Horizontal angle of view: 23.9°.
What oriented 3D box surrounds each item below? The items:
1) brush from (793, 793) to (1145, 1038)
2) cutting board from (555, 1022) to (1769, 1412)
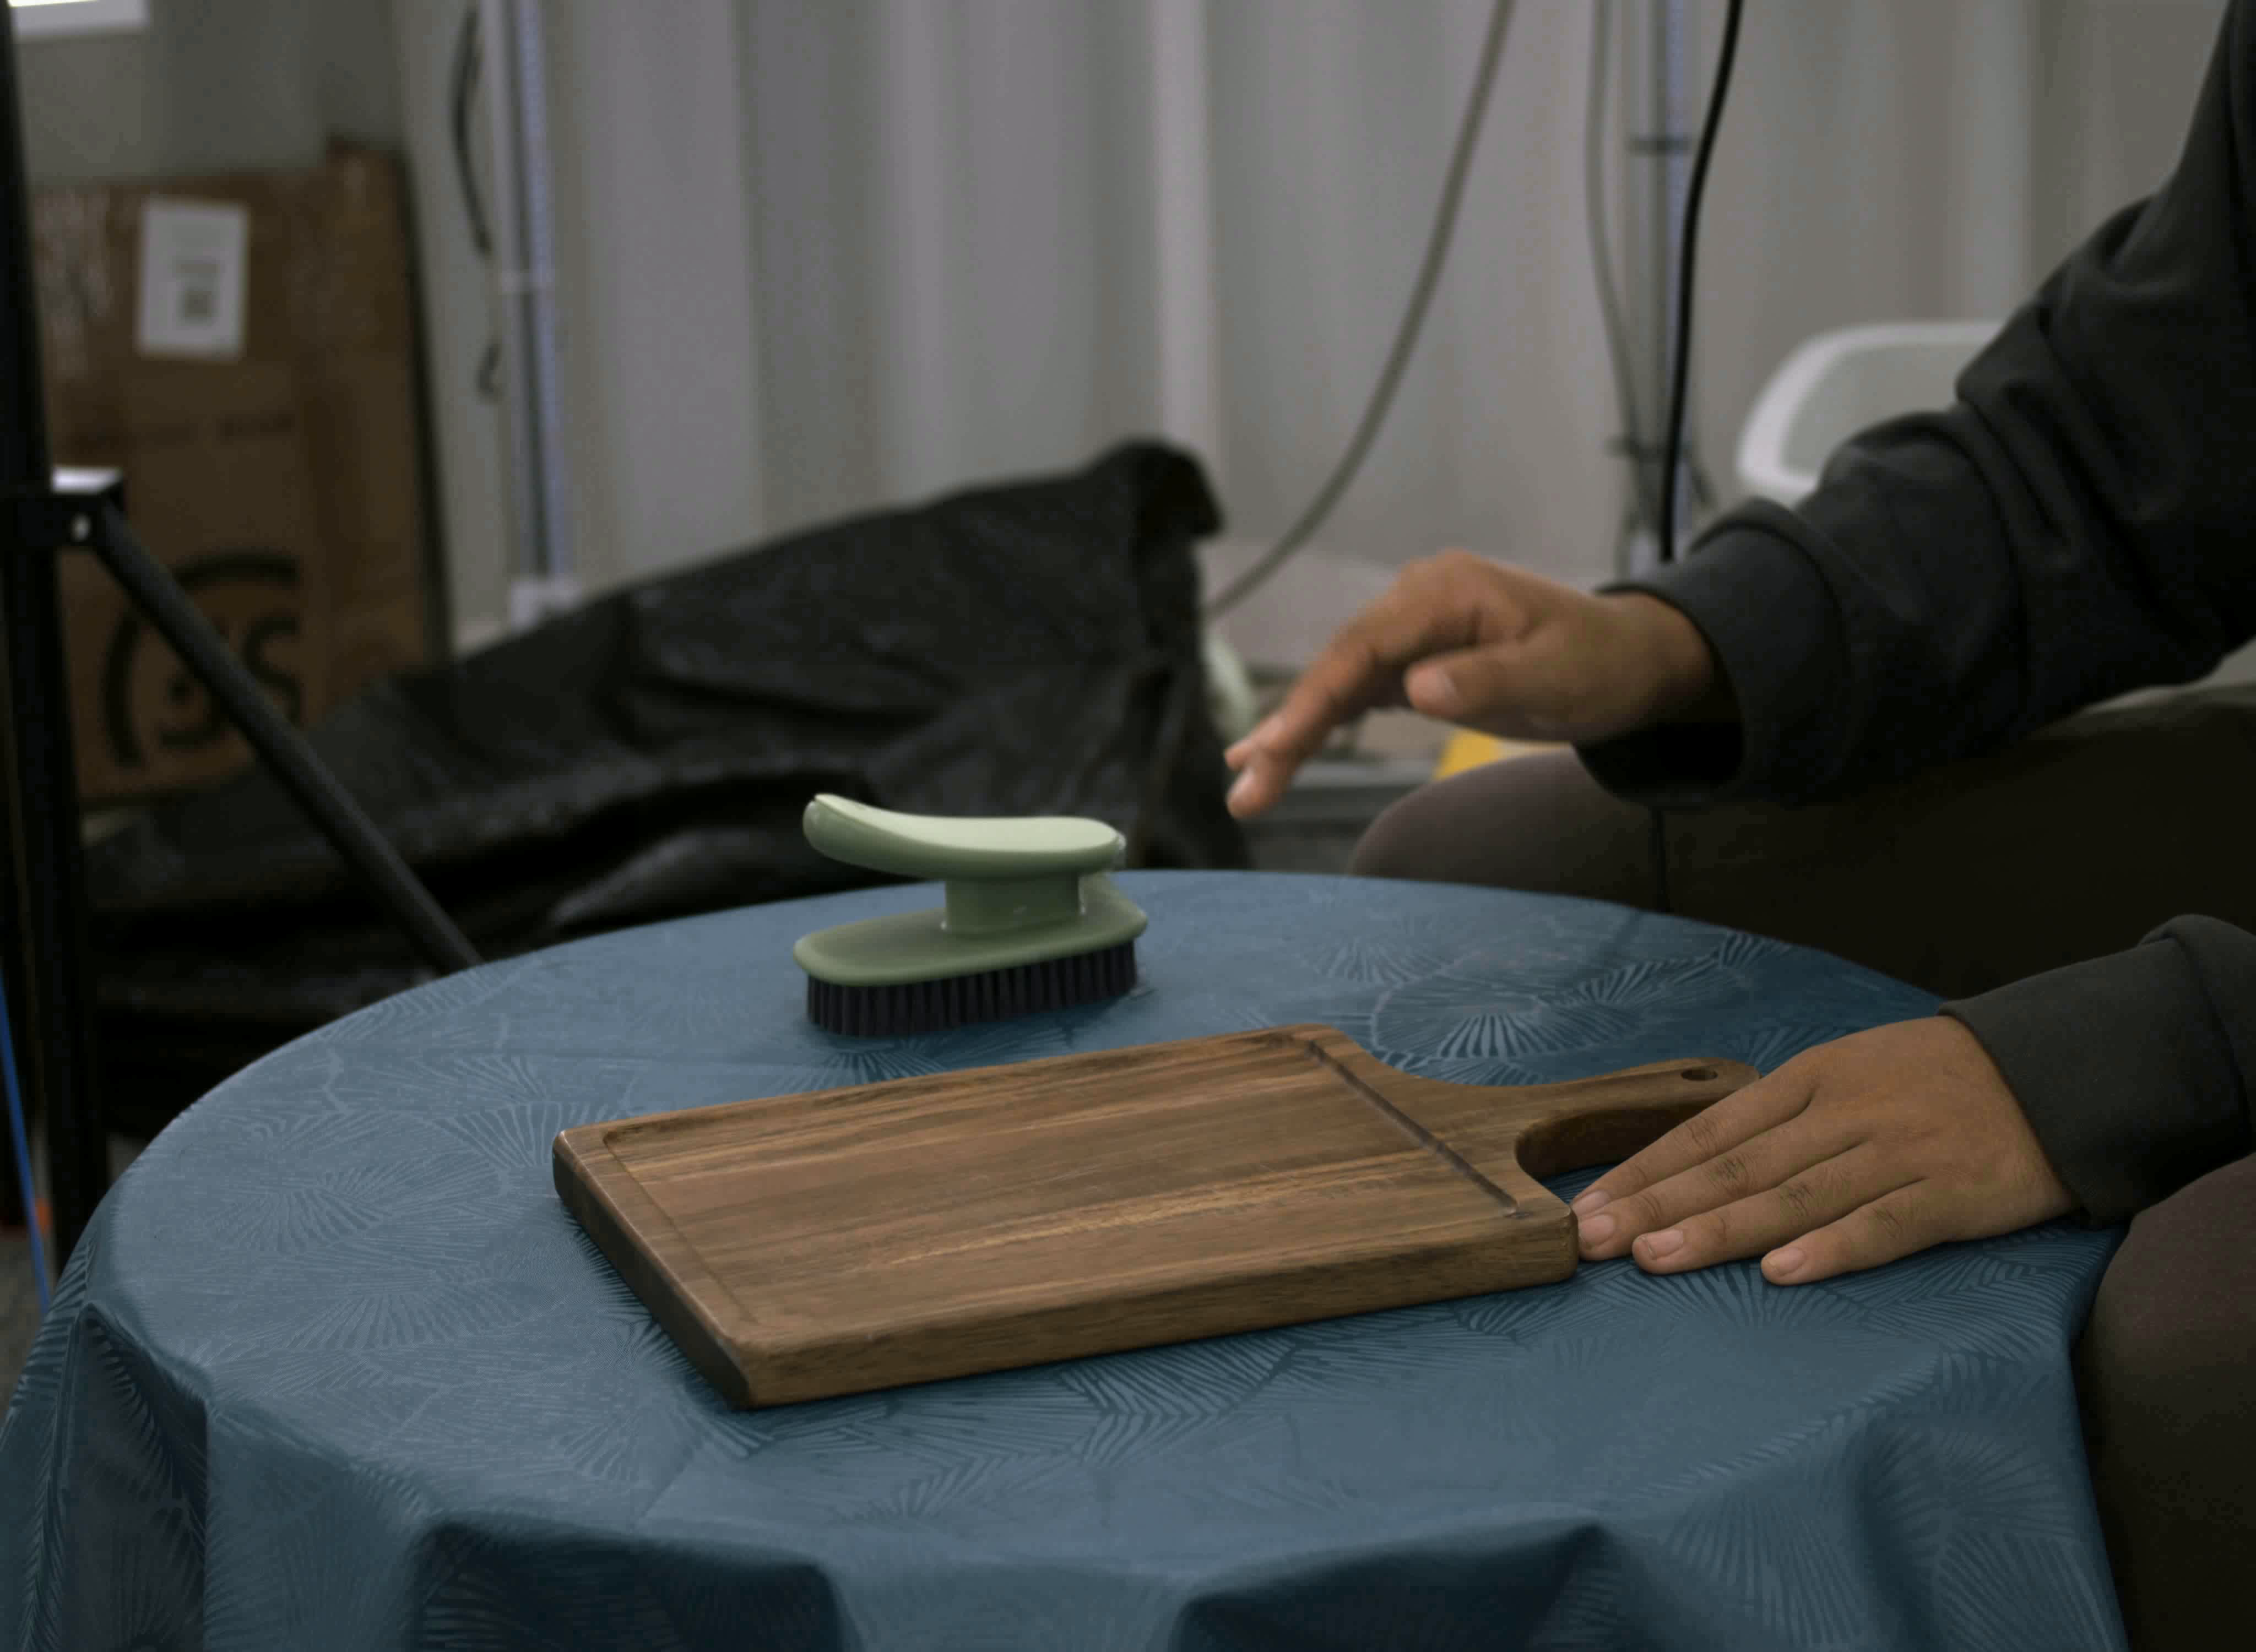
[{"bbox_3d":[-0.053,0.032,1.736,0.120,0.076,0.061,6,11,-28],"label":"brush"},{"bbox_3d":[0.026,0.102,1.535,0.346,0.023,0.204,-7,17,-17],"label":"cutting board"}]
